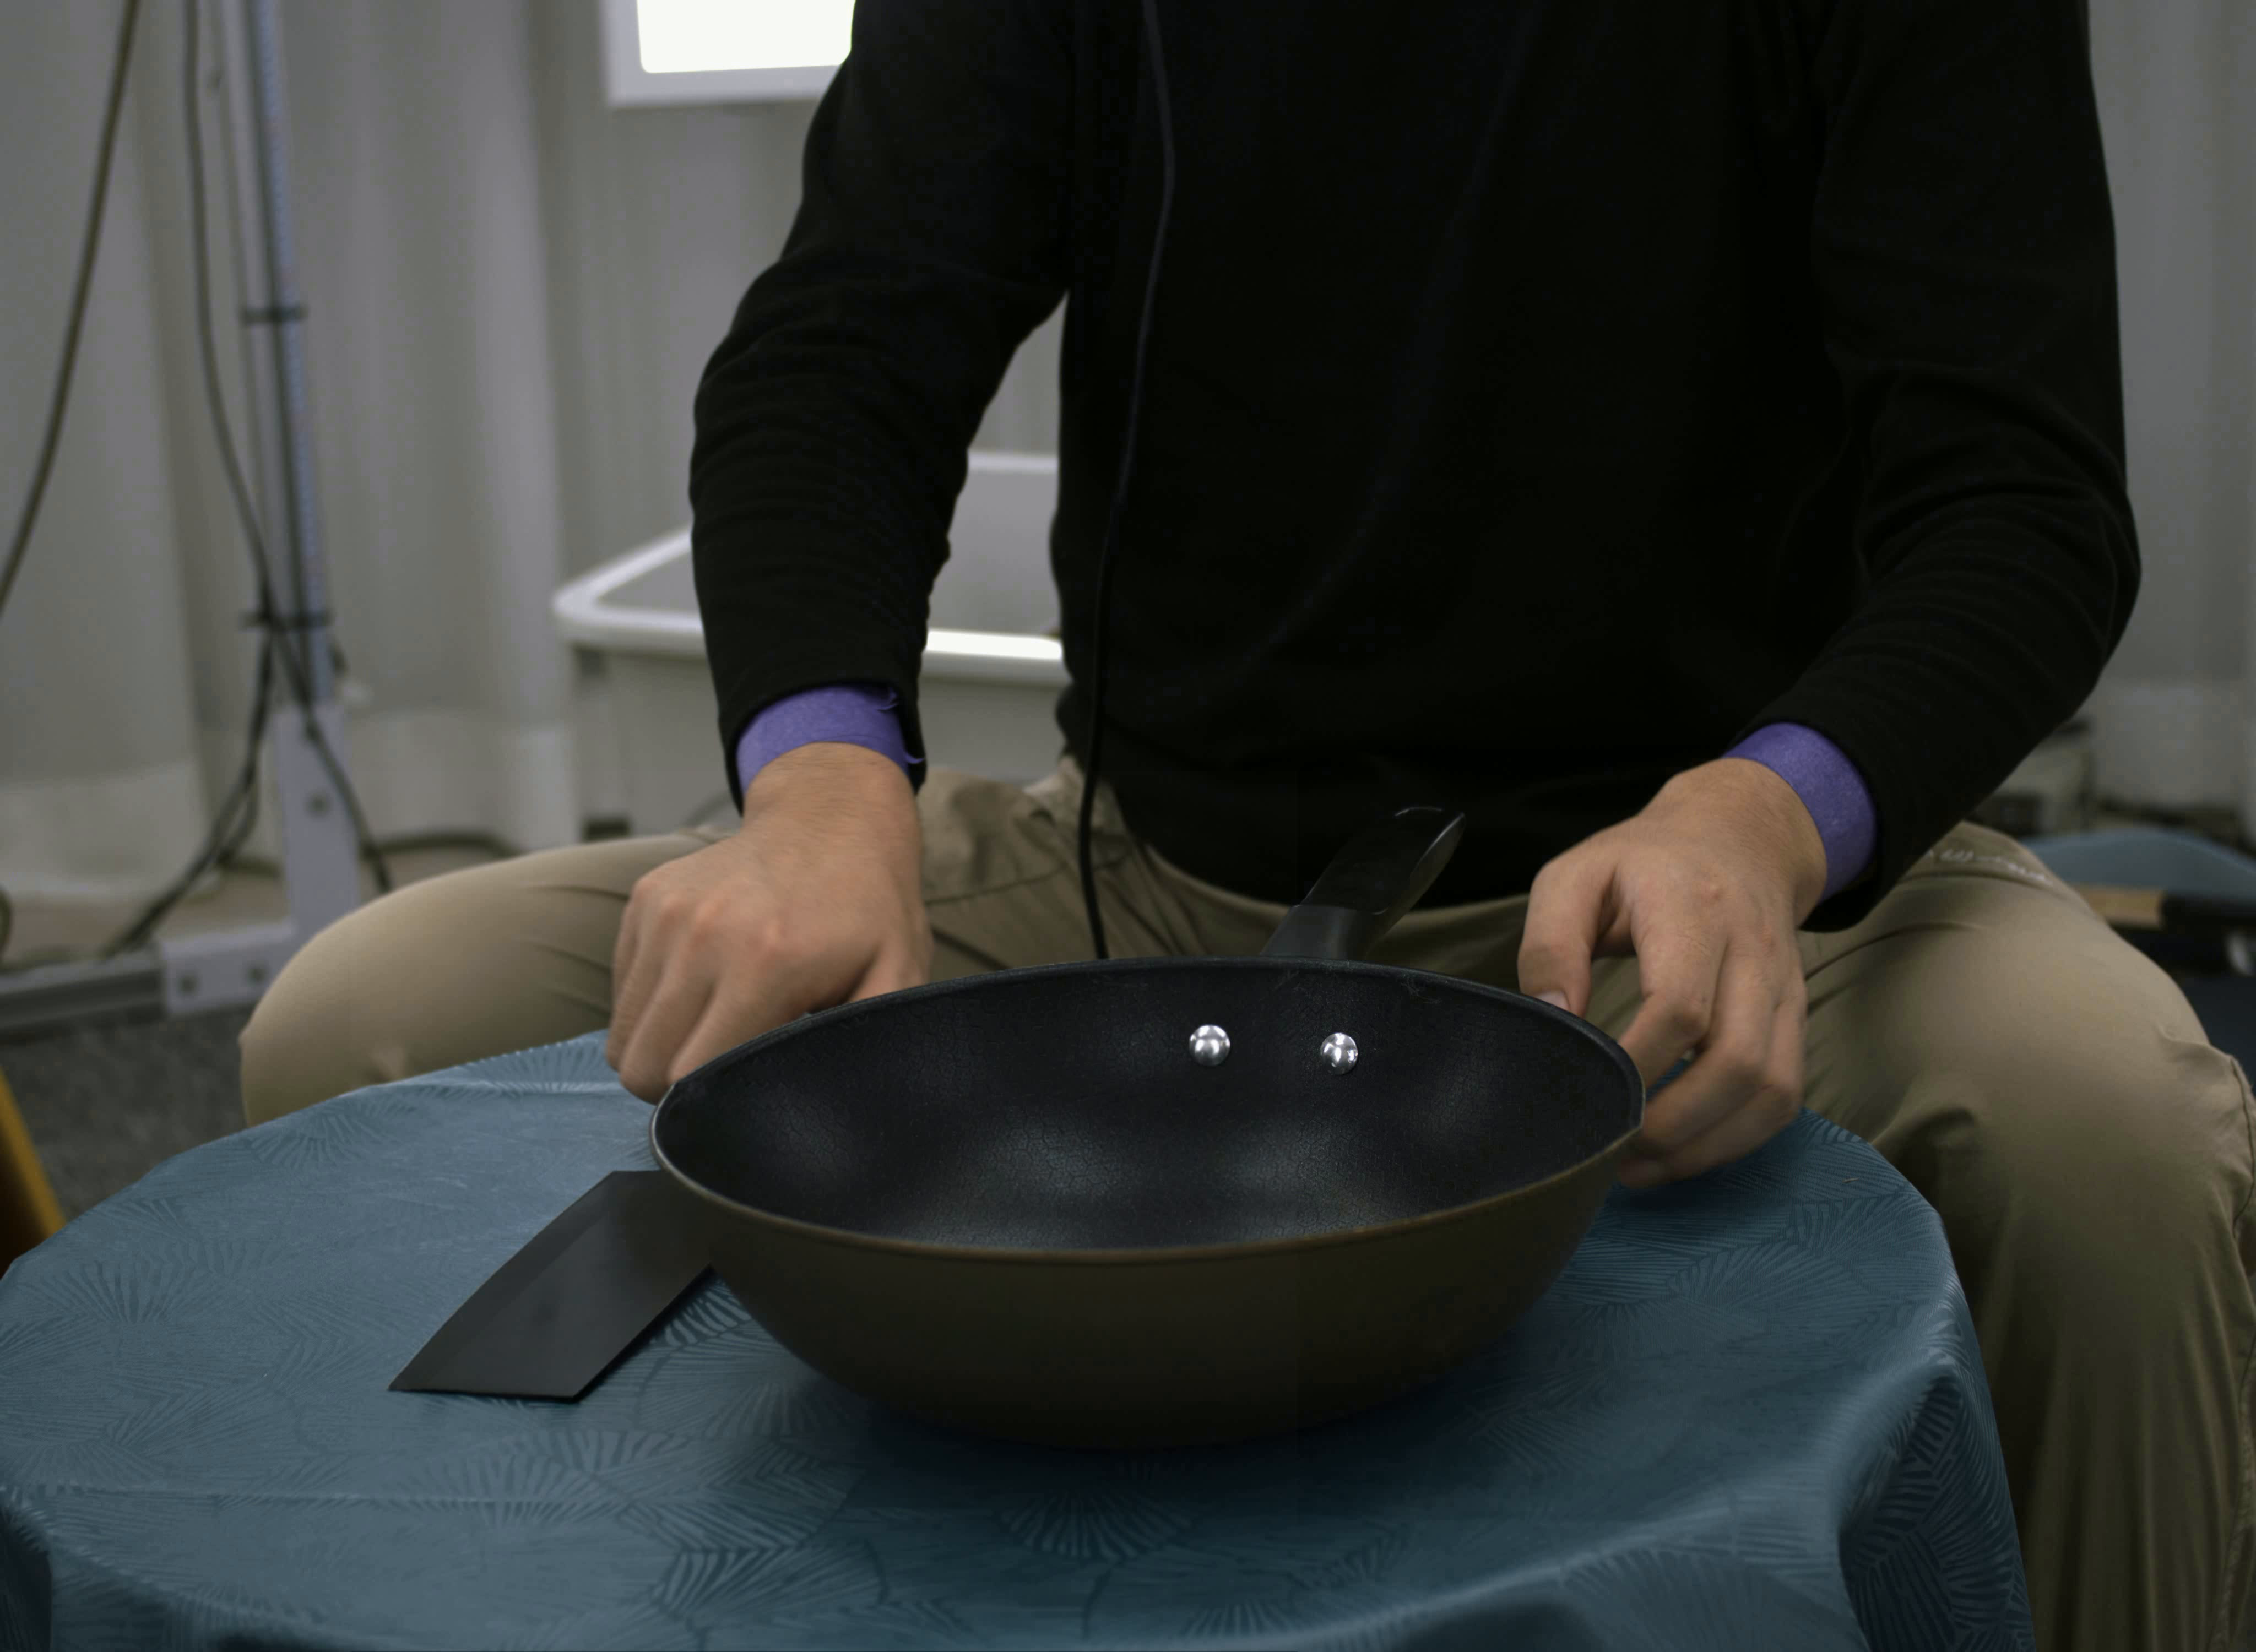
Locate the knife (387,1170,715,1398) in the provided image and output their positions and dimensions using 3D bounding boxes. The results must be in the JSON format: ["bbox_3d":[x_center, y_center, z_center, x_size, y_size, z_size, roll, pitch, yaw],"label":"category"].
[{"bbox_3d":[-0.138,0.119,1.698,0.081,0.021,0.303,2,17,23],"label":"knife"}]

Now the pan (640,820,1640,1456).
[{"bbox_3d":[0.033,0.091,1.639,0.288,0.086,0.465,2,15,18],"label":"pan"}]
